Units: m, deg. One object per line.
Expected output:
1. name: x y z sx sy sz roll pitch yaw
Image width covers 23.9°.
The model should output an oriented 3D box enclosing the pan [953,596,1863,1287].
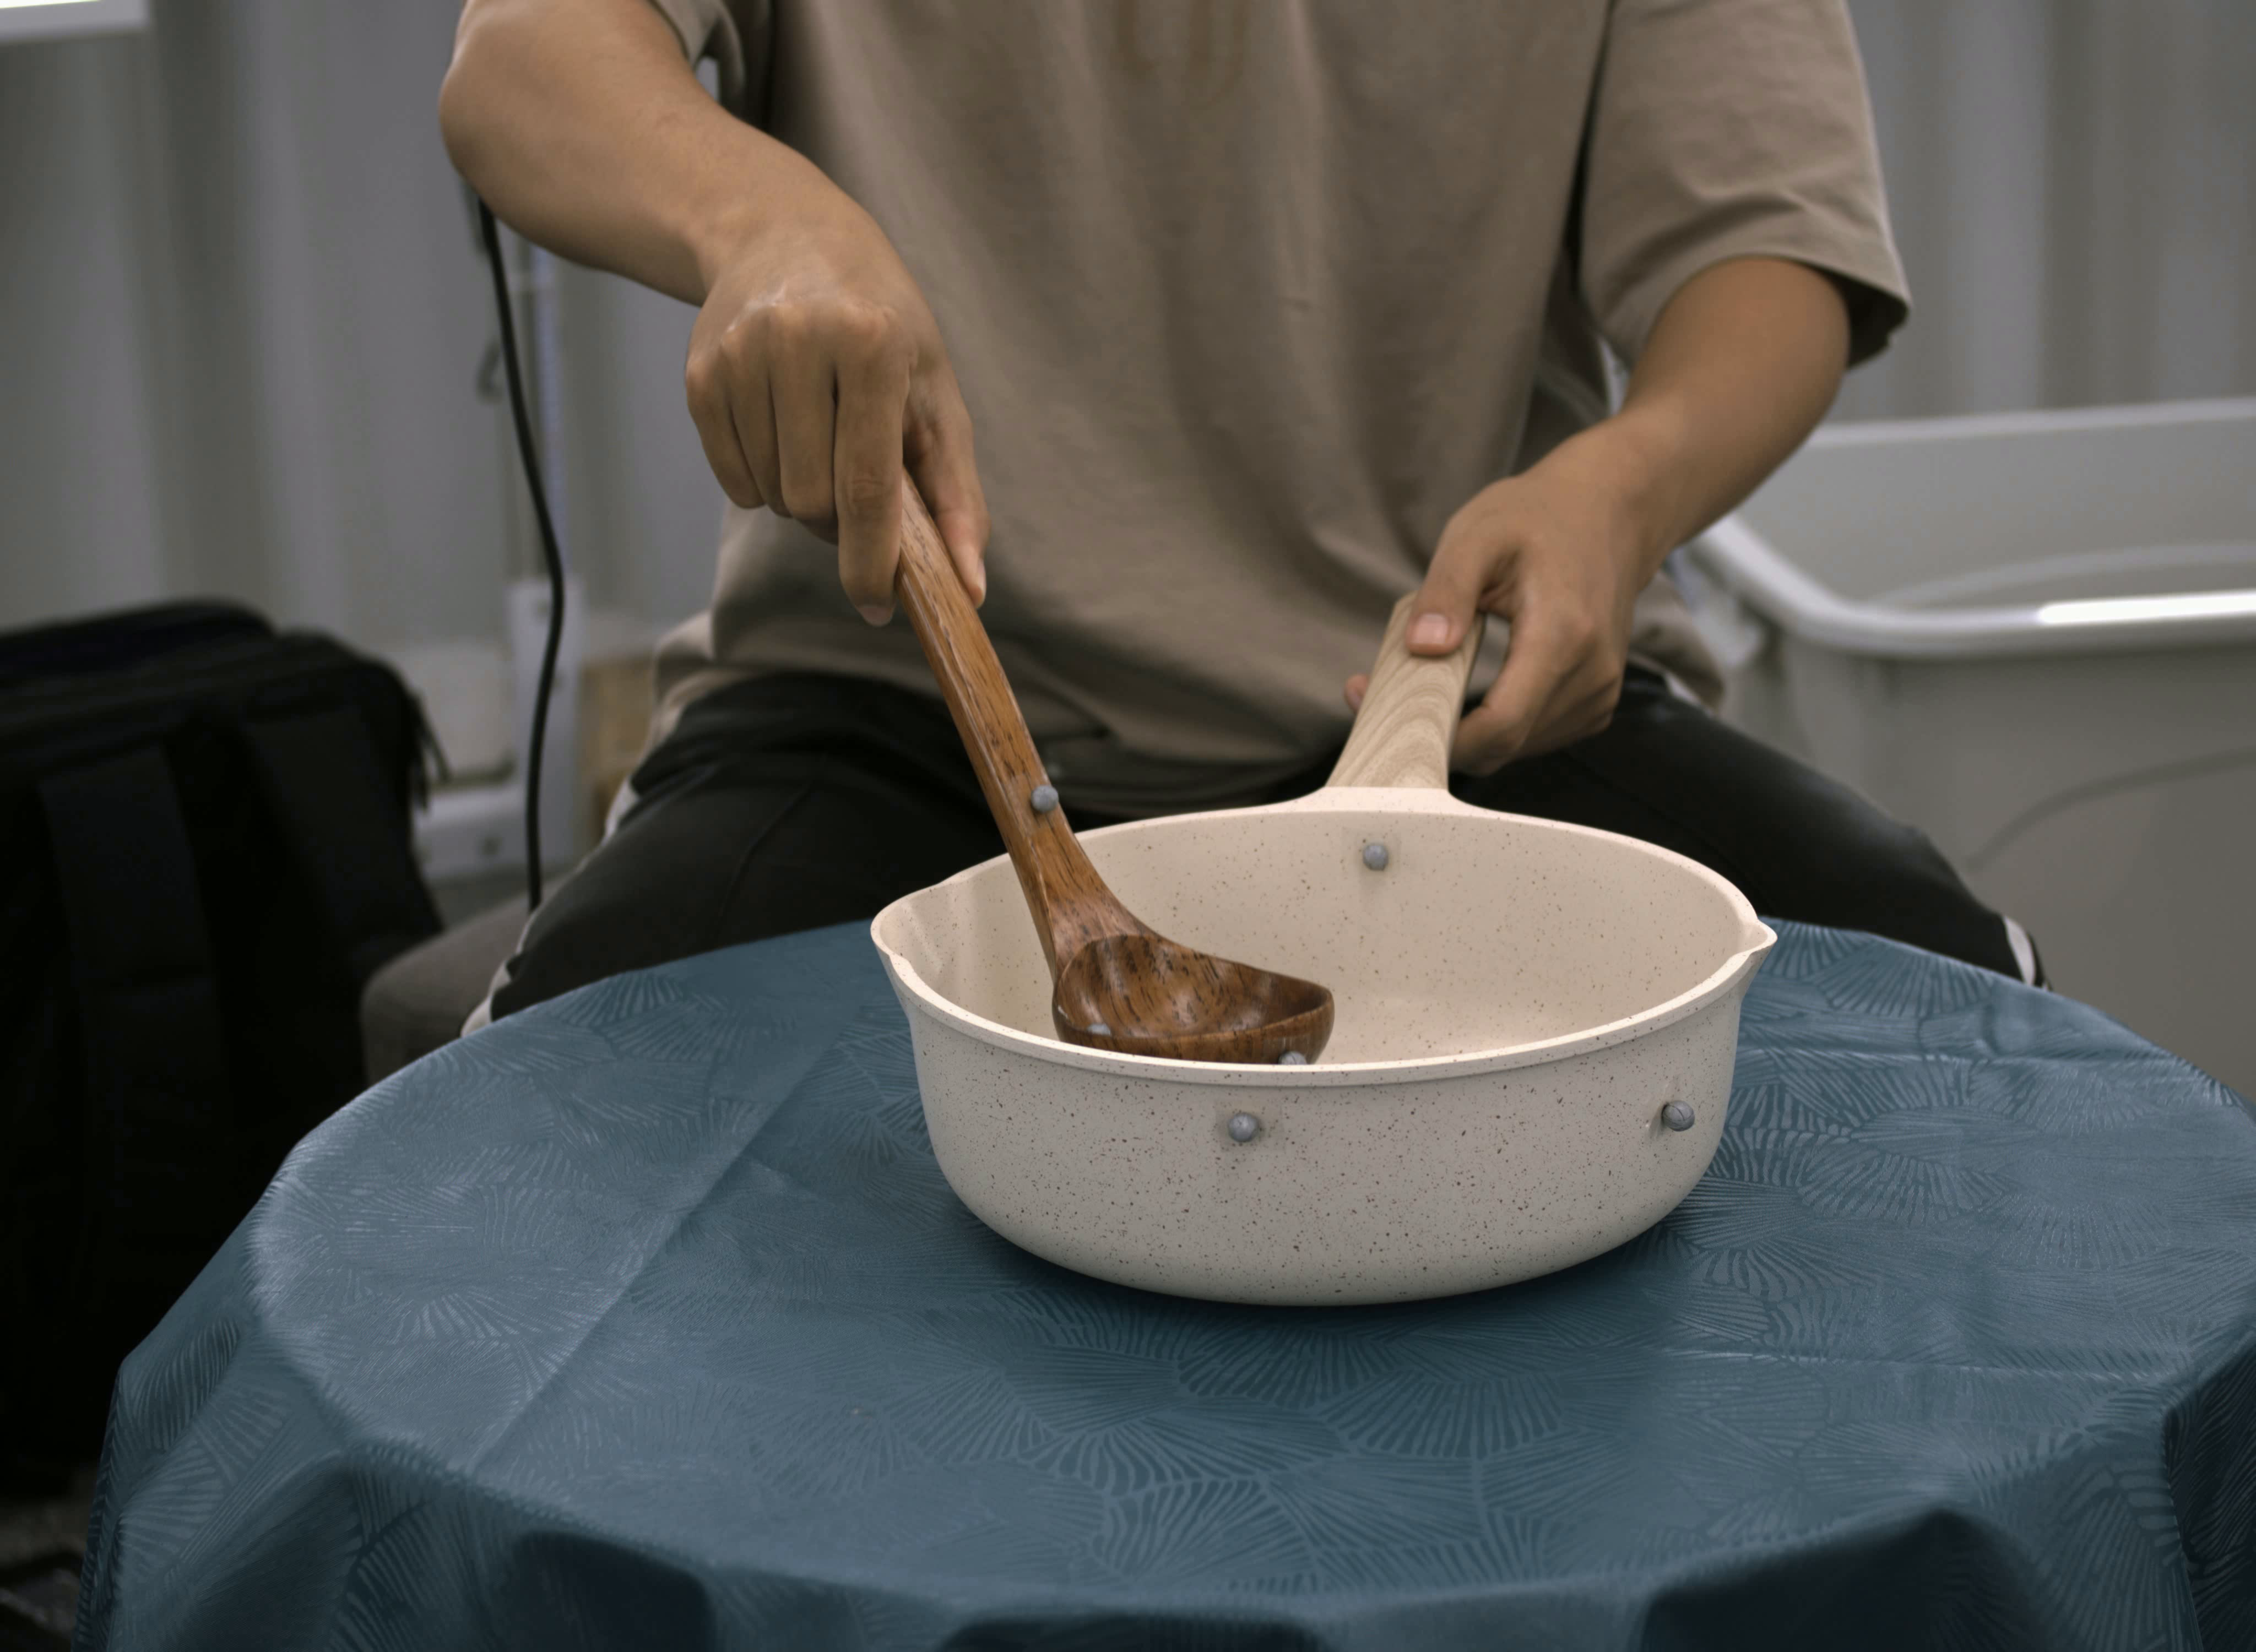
1. pan: 0.096 0.031 1.620 0.264 0.102 0.433 -1 16 11

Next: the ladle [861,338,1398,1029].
1. ladle: -0.006 -0.039 1.550 0.080 0.277 0.077 -7 -23 -41
